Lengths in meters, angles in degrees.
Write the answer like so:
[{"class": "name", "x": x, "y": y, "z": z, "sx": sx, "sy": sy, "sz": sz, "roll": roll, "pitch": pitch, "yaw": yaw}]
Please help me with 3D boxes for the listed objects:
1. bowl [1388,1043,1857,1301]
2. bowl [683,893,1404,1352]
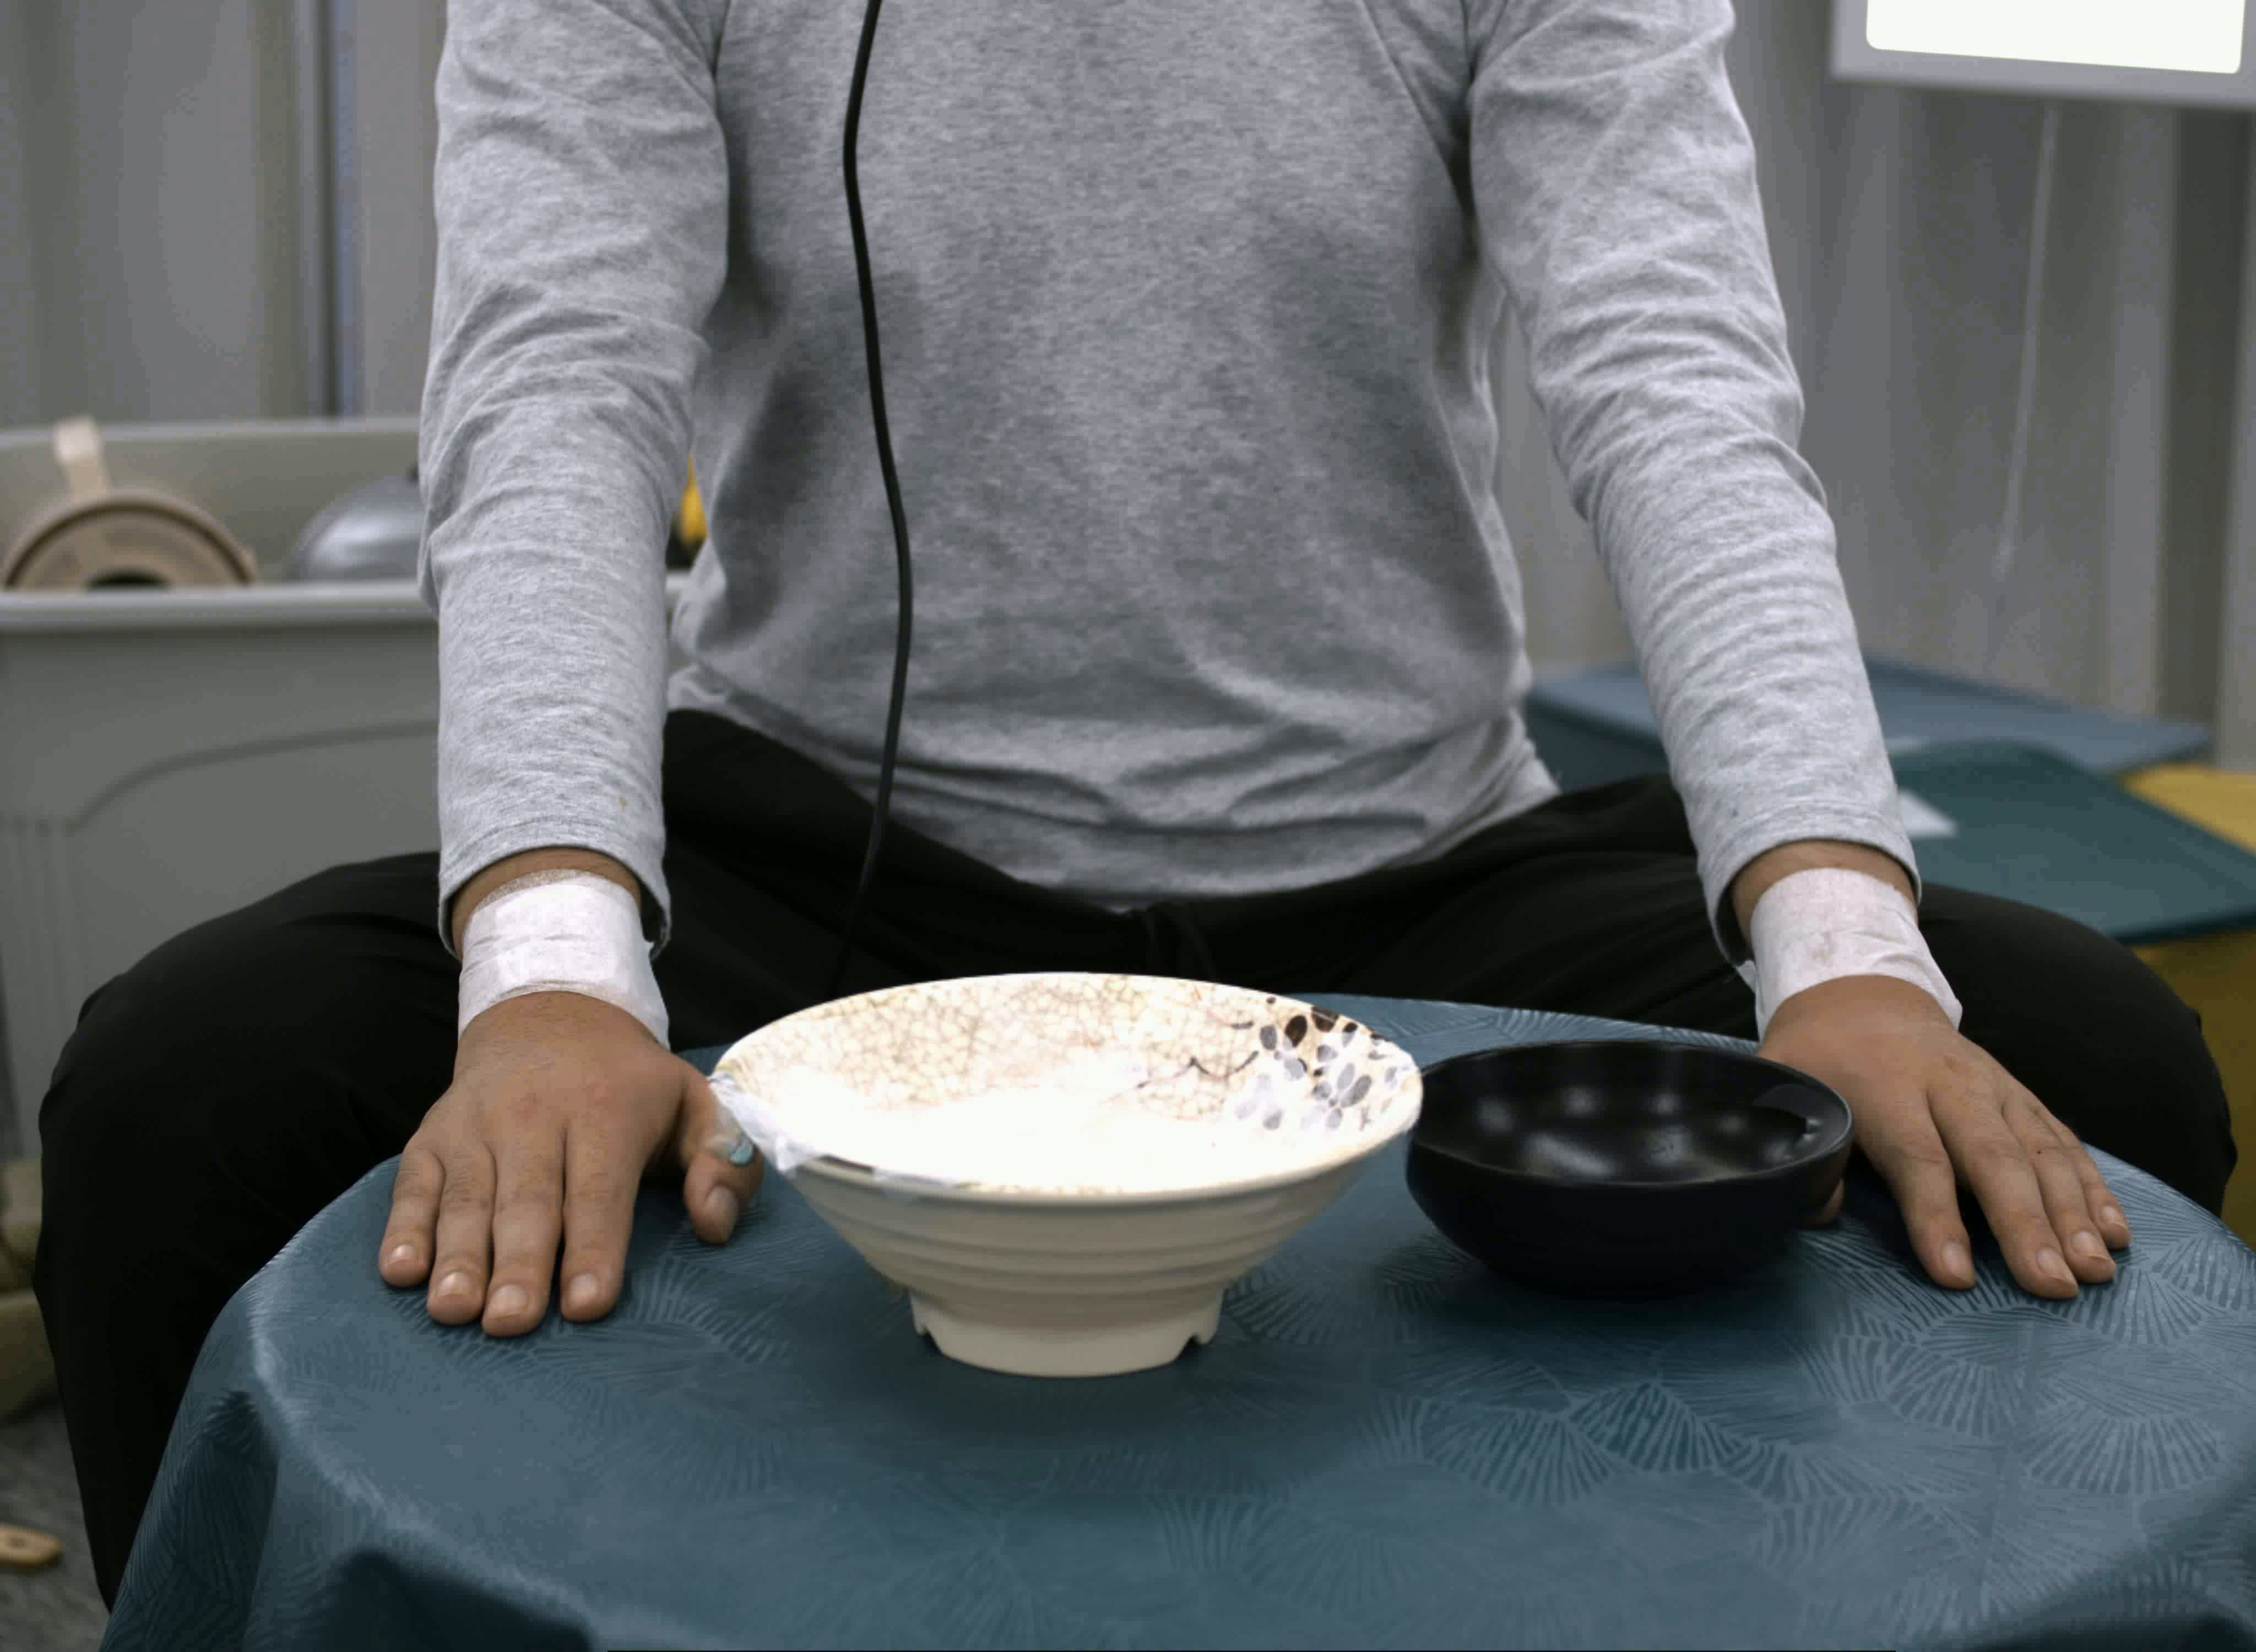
[{"class": "bowl", "x": 0.145, "y": 0.106, "z": 1.560, "sx": 0.139, "sy": 0.050, "sz": 0.139, "roll": 3, "pitch": 14, "yaw": 0}, {"class": "bowl", "x": -0.025, "y": 0.095, "z": 1.493, "sx": 0.203, "sy": 0.078, "sz": 0.202, "roll": 4, "pitch": 23, "yaw": -1}]
